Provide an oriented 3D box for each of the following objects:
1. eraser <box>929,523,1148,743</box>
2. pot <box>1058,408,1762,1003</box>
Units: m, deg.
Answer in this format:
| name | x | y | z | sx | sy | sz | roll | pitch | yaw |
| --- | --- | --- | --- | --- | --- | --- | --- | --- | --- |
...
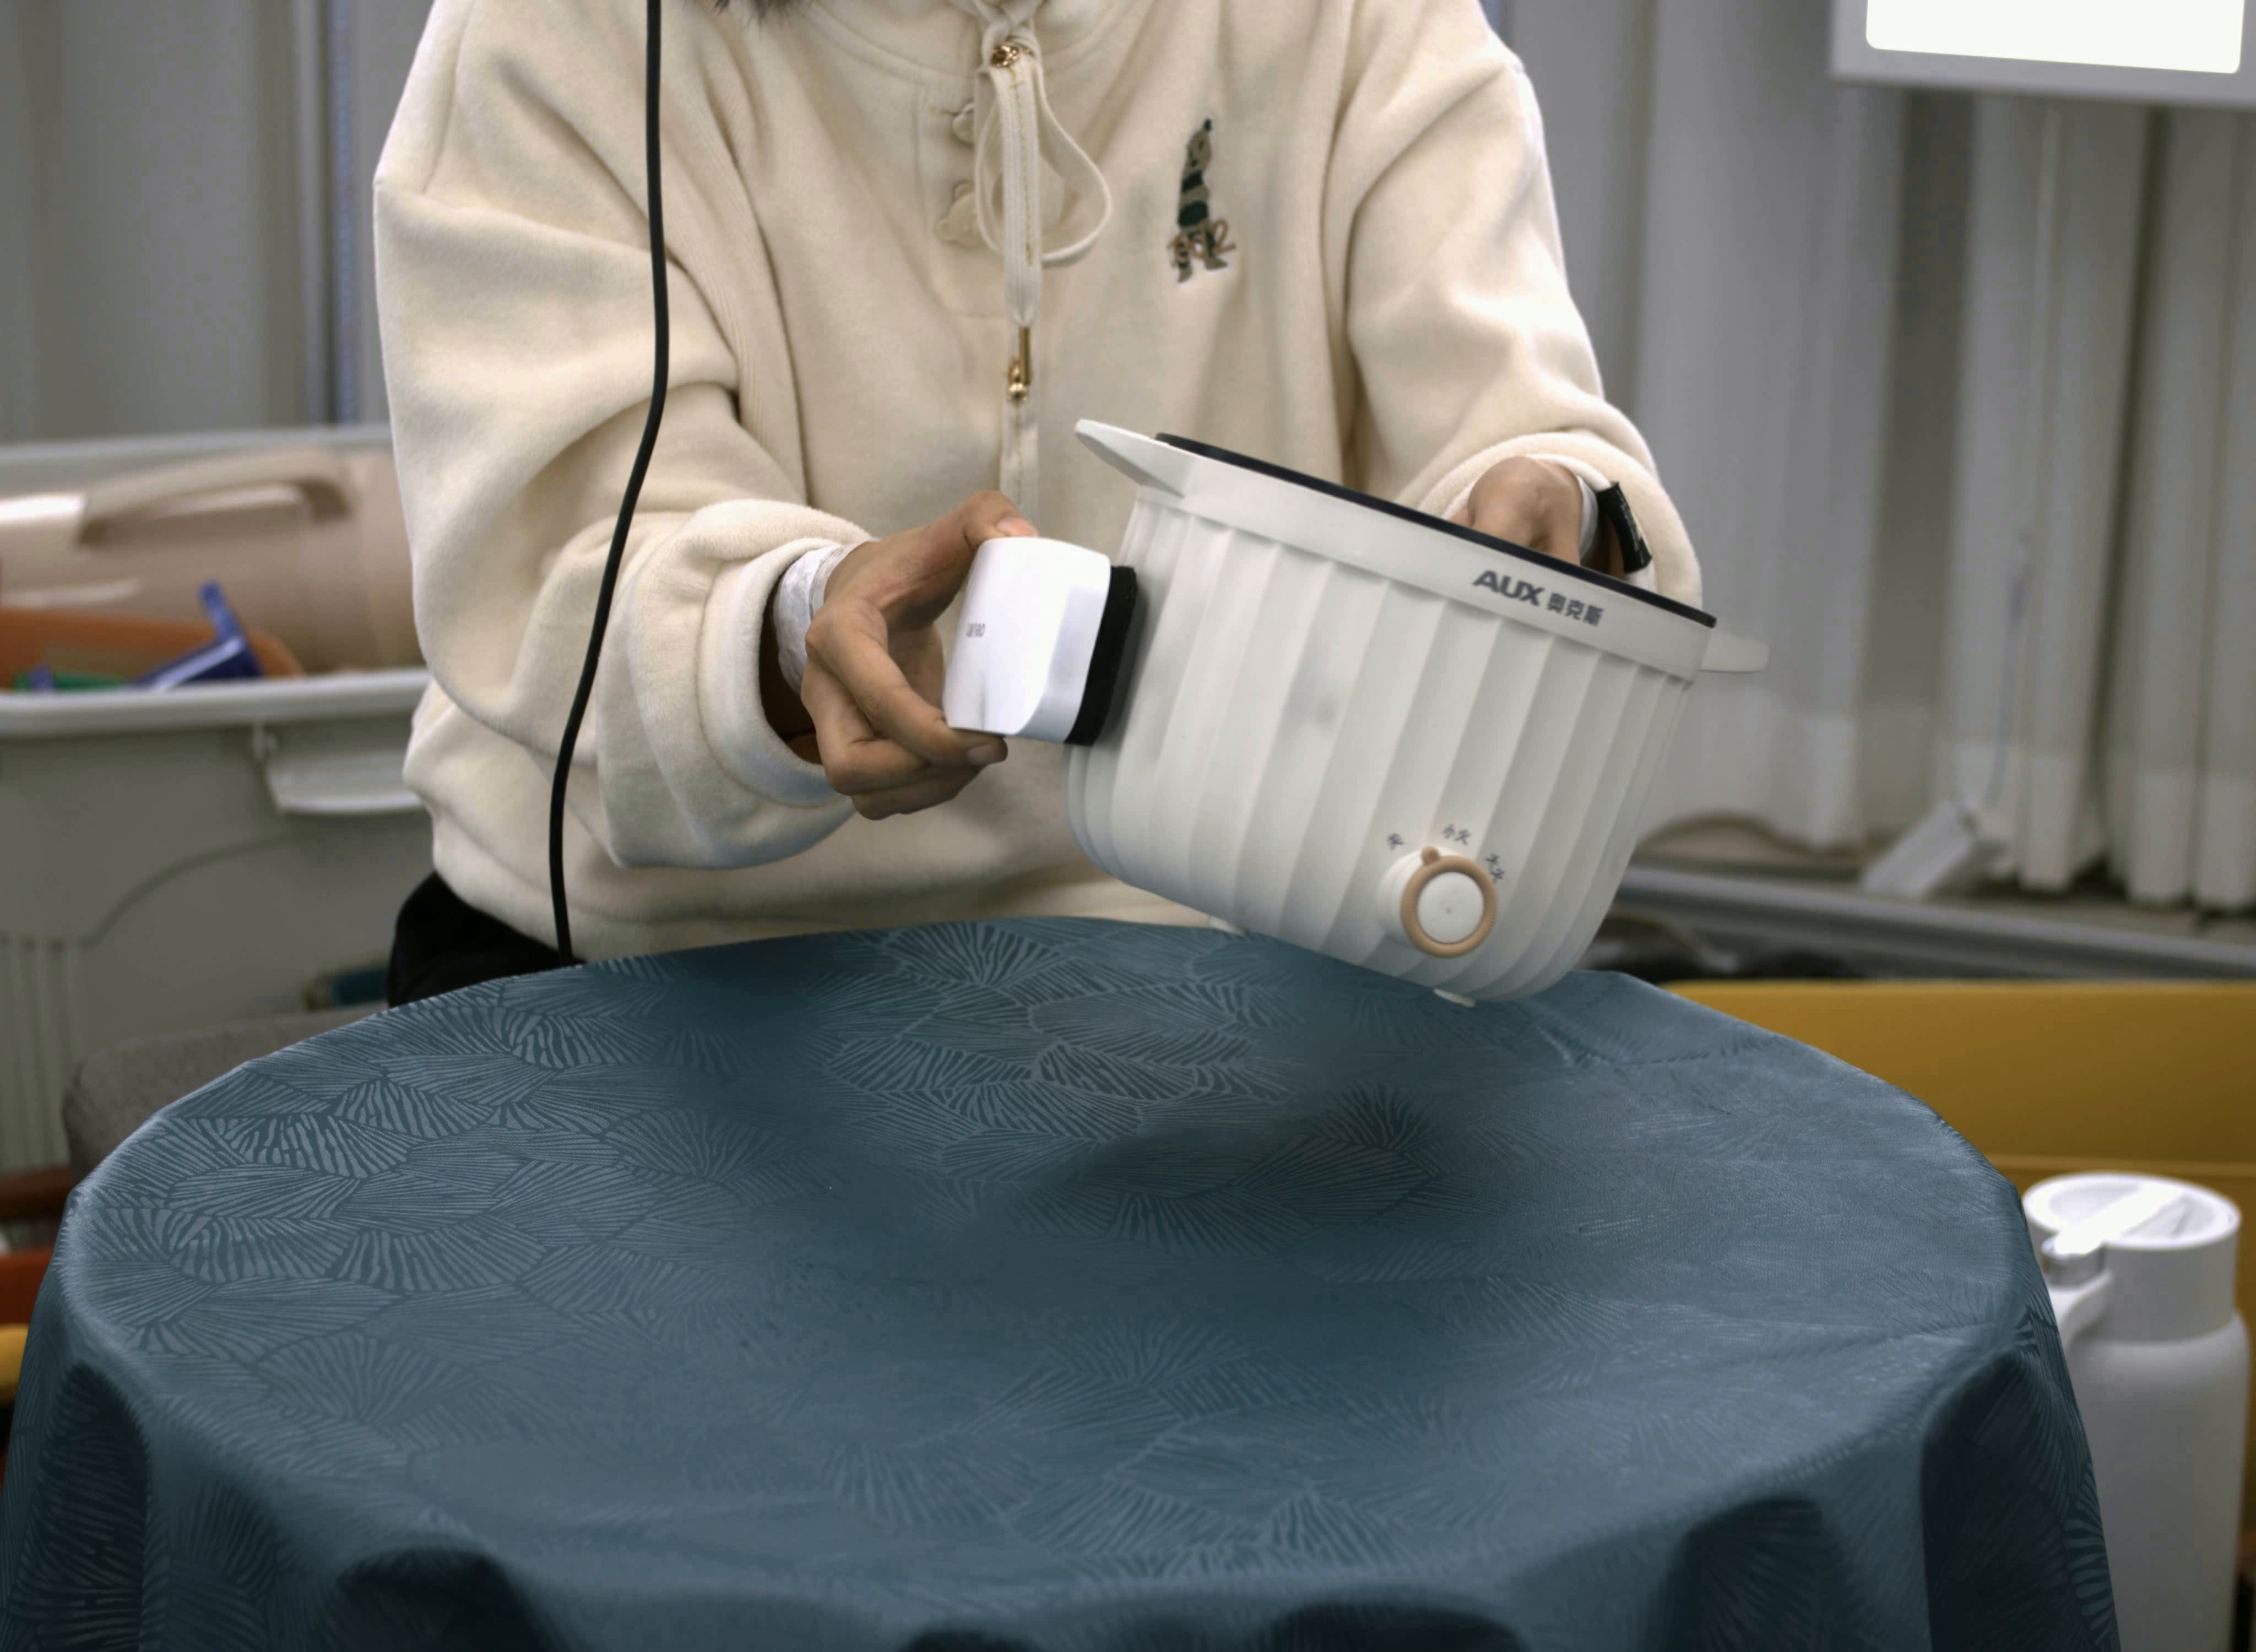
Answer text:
| name | x | y | z | sx | sy | sz | roll | pitch | yaw |
| --- | --- | --- | --- | --- | --- | --- | --- | --- | --- |
| eraser | -0.031 | -0.058 | 1.603 | 0.034 | 0.063 | 0.130 | 17 | -3 | -15 |
| pot | 0.075 | -0.029 | 1.605 | 0.242 | 0.143 | 0.189 | 17 | 0 | -22 |
